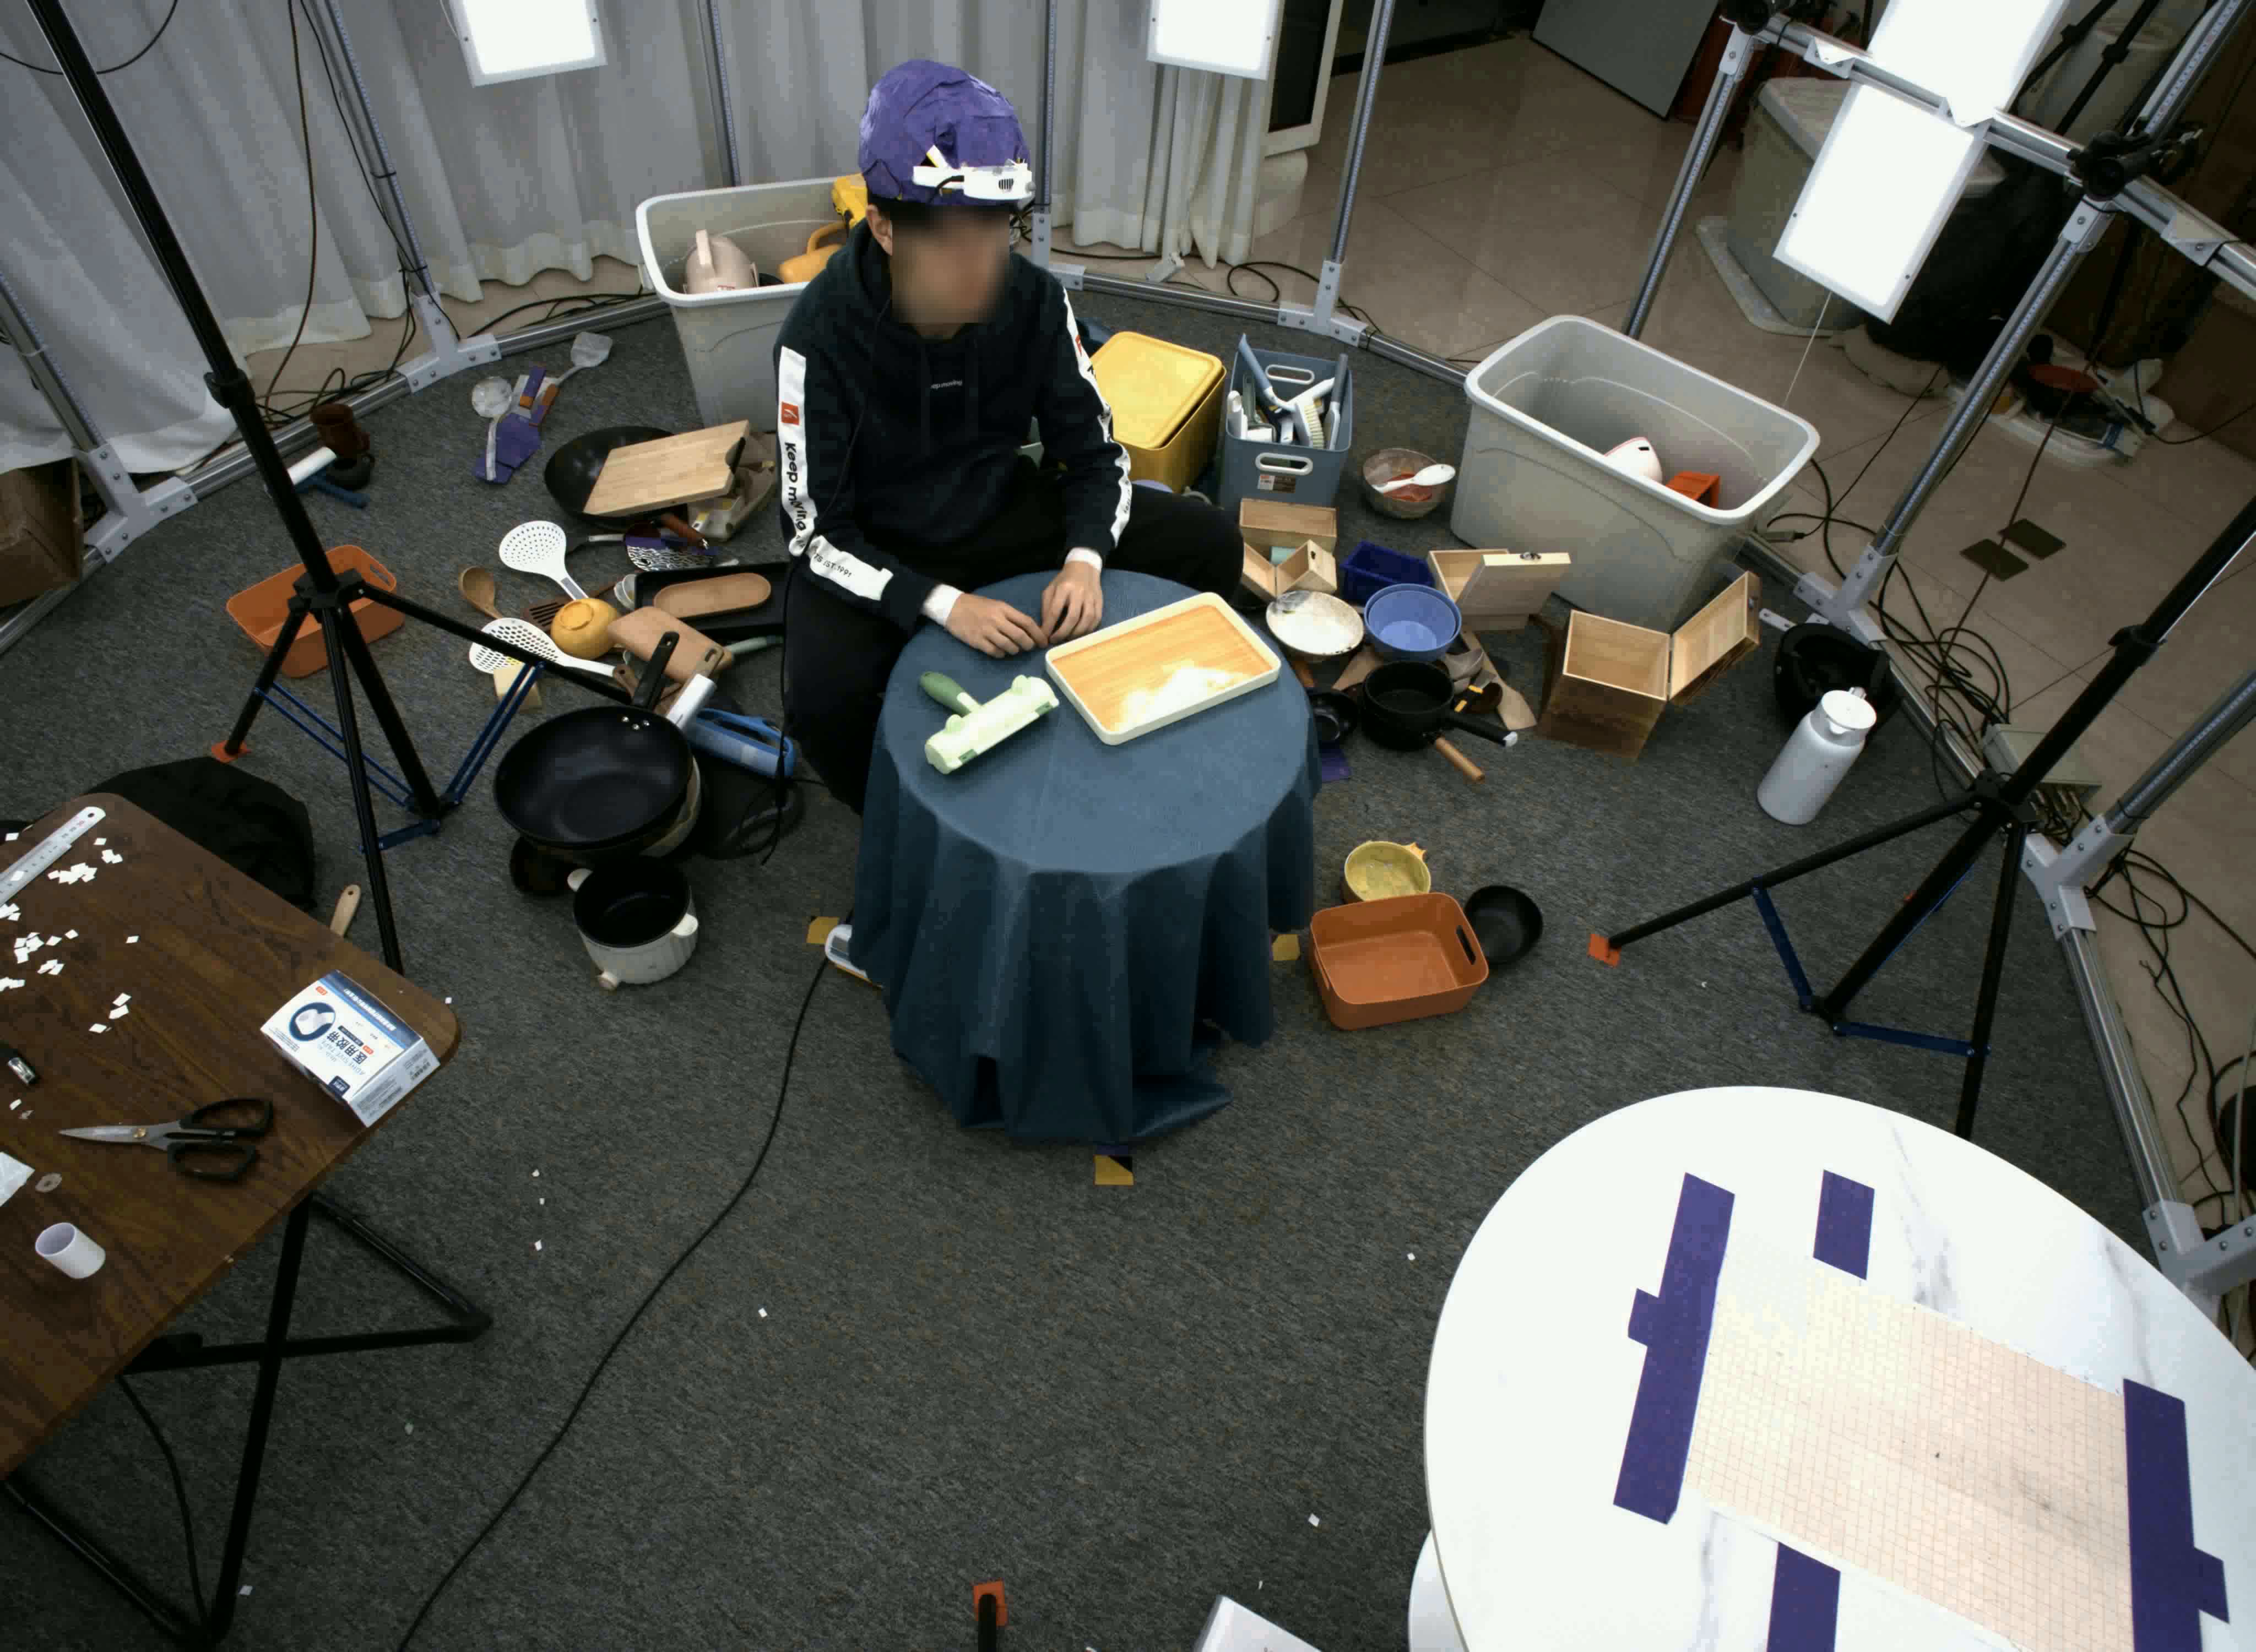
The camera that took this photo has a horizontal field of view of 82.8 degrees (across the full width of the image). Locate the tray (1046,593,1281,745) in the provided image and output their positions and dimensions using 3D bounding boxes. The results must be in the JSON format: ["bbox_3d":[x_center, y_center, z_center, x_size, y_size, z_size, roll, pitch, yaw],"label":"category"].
[{"bbox_3d":[0.051,-0.232,1.856,0.301,0.027,0.195,-23,54,-22],"label":"tray"}]

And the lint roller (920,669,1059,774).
[{"bbox_3d":[-0.223,-0.177,1.758,0.200,0.080,0.186,-35,63,-29],"label":"lint roller"}]
